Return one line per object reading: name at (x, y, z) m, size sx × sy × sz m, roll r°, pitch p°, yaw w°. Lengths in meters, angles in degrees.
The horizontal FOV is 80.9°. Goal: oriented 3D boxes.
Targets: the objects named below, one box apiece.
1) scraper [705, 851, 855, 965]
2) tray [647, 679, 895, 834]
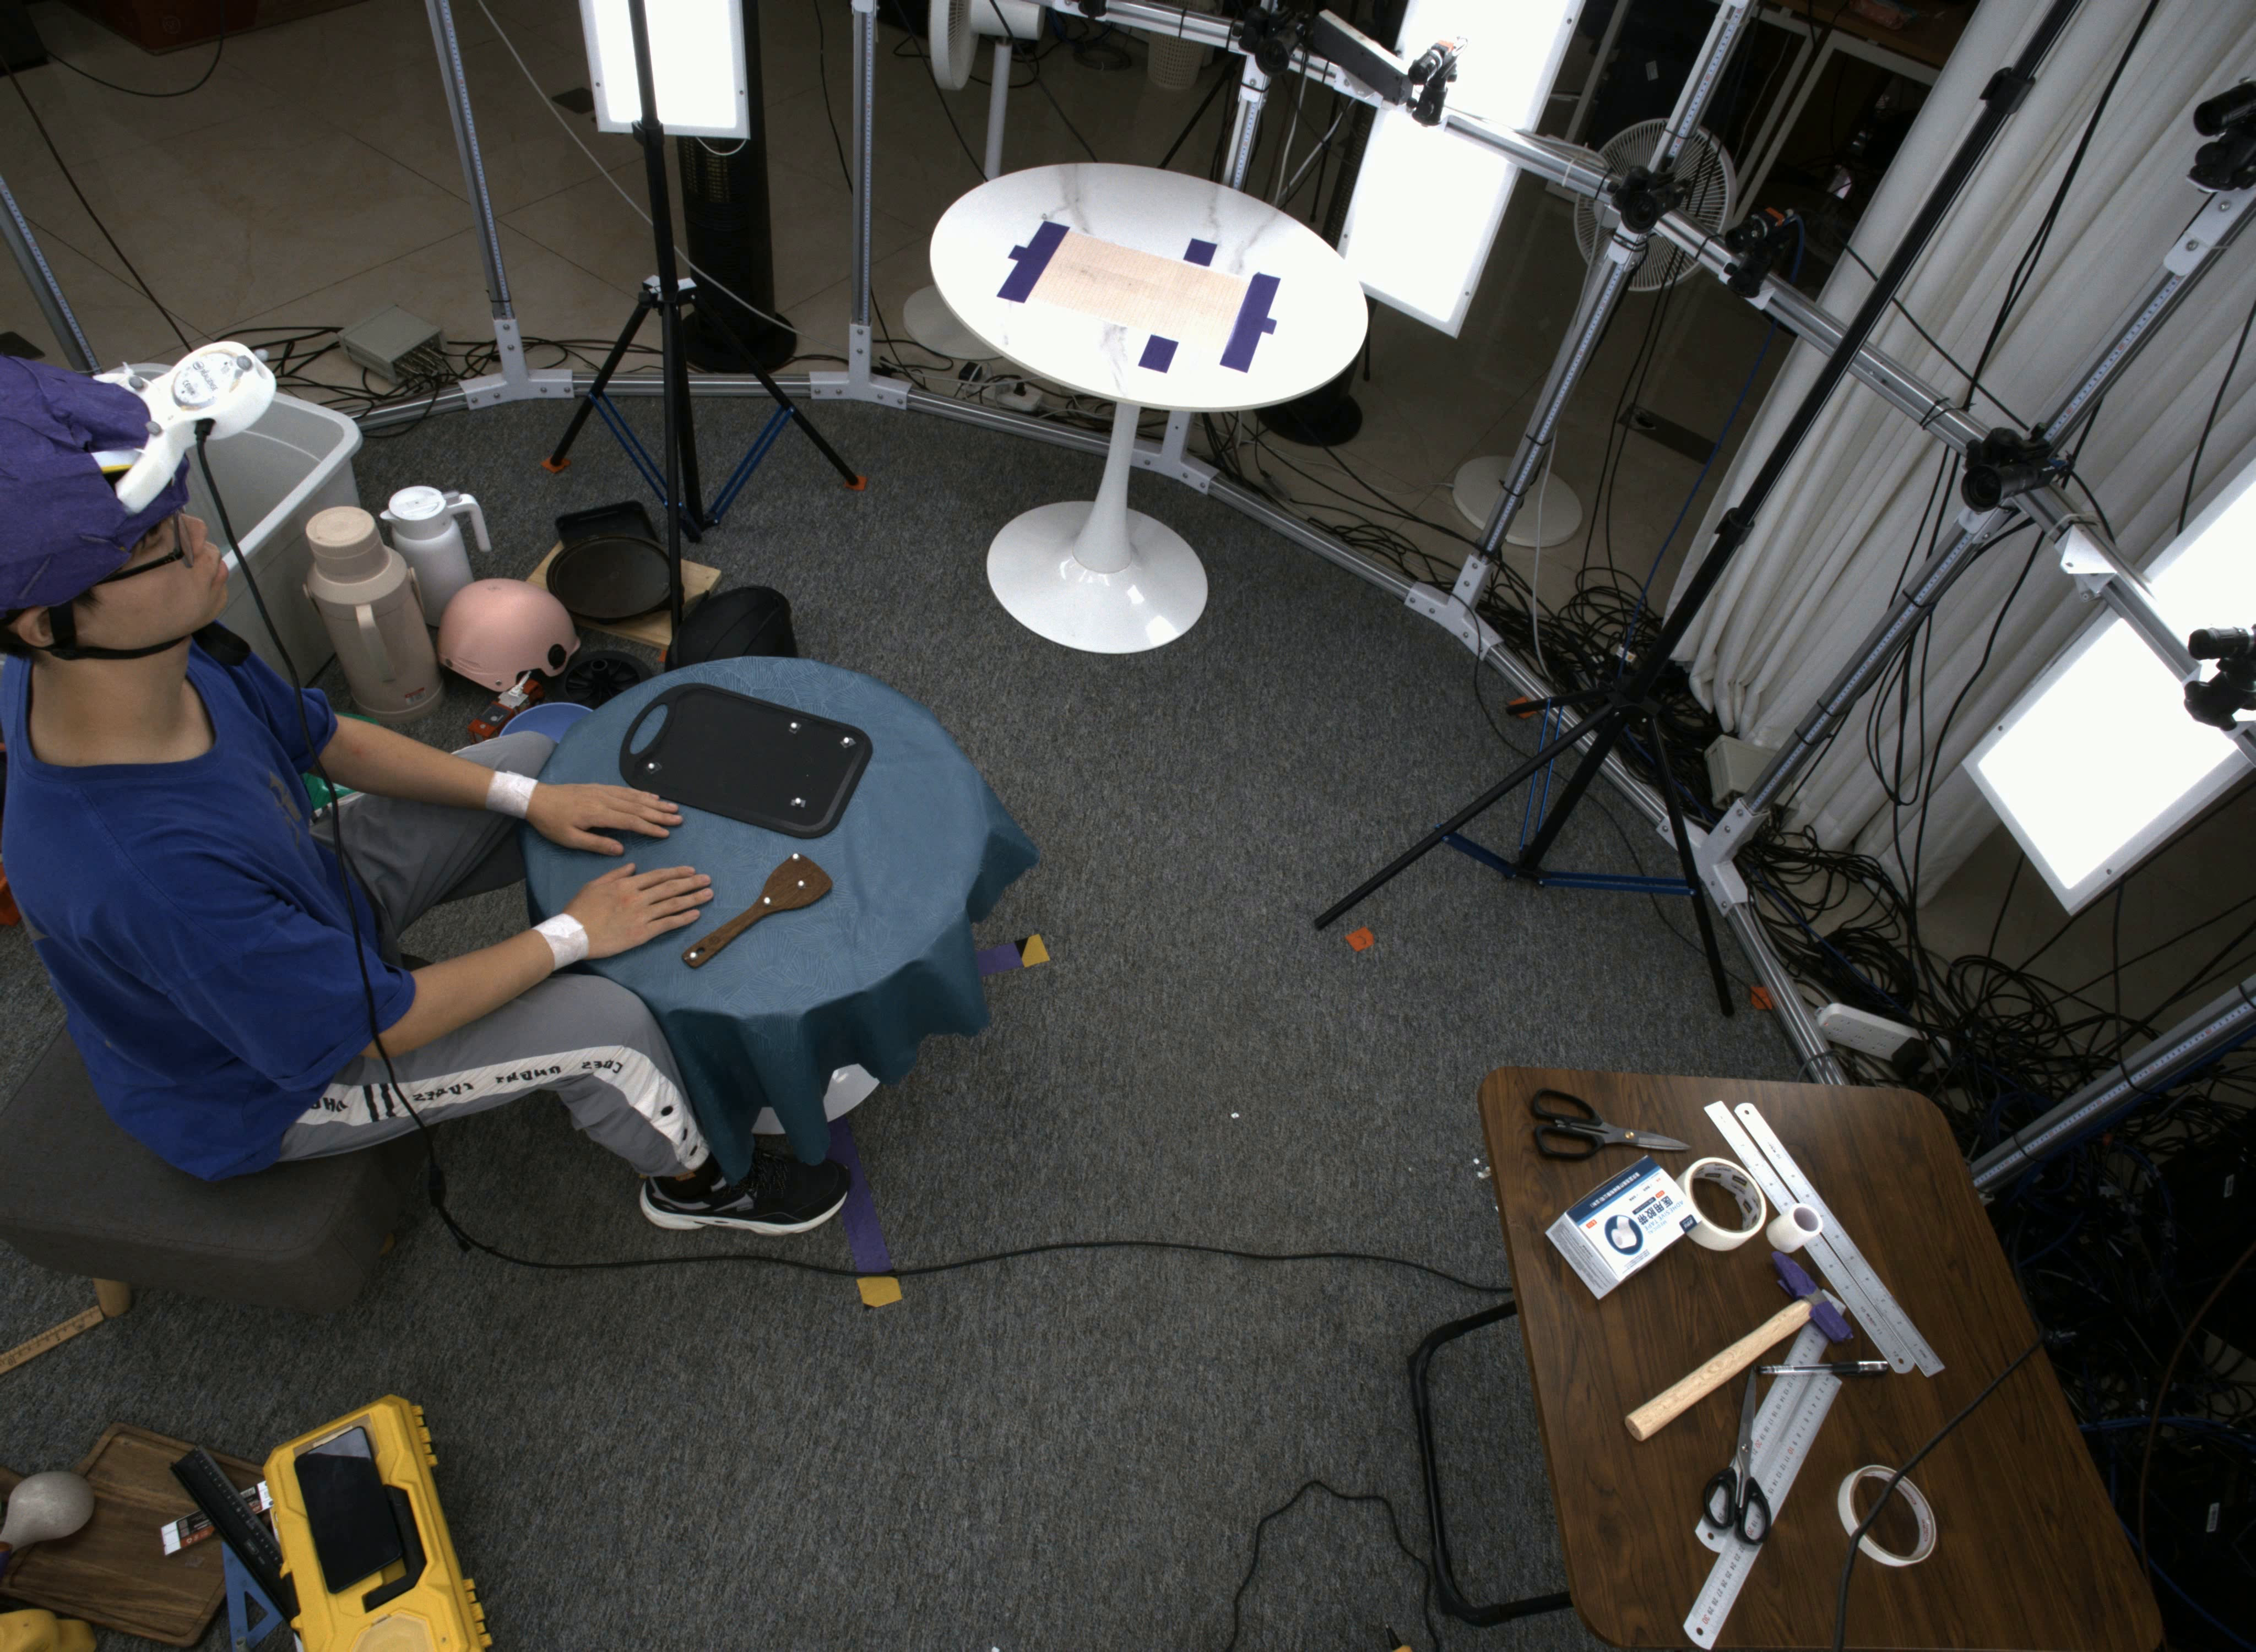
scraper at (-0.446, 0.106, 1.644) m, size 0.074 × 0.011 × 0.211 m, roll 40°, pitch 56°, yaw 17°
tray at (-0.499, -0.103, 1.787) m, size 0.322 × 0.010 × 0.209 m, roll 18°, pitch 52°, yaw -1°
